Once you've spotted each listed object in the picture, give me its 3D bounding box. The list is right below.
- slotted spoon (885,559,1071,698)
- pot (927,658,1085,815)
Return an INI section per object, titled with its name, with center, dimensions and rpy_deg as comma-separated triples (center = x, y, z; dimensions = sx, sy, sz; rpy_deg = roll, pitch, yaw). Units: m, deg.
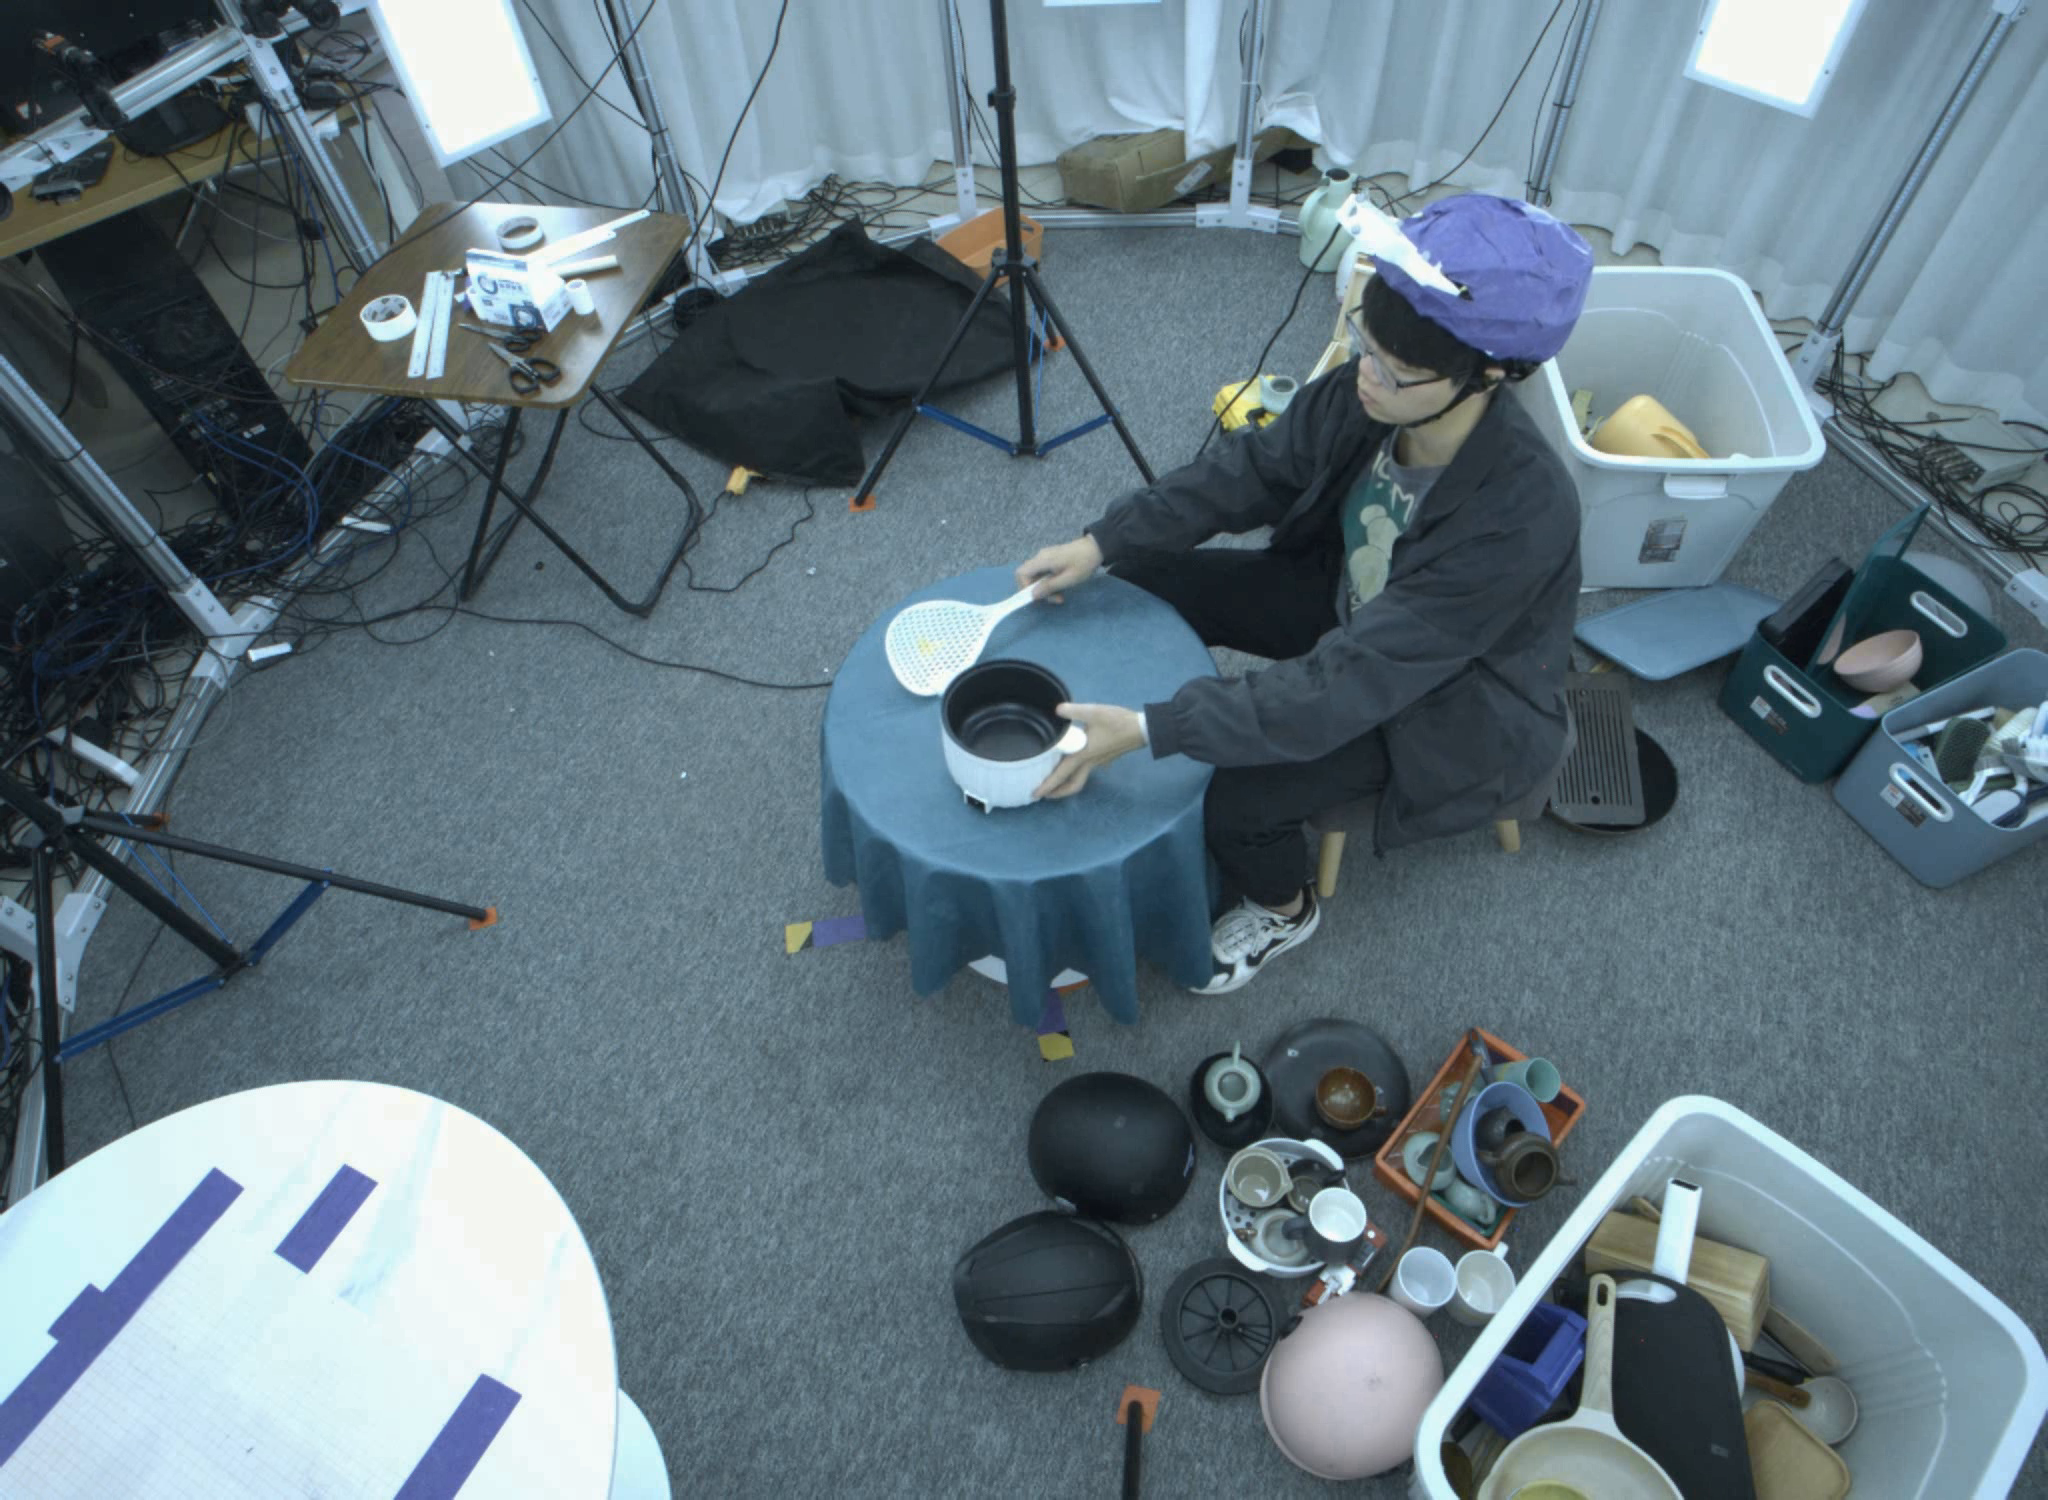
[slotted spoon]
center = -0.059, -0.202, 1.872
dimensions = 0.350, 0.049, 0.138
rpy_deg = -31, 105, -18
[pot]
center = -0.023, -0.020, 1.705
dimensions = 0.237, 0.144, 0.191
rpy_deg = 25, 61, 16
